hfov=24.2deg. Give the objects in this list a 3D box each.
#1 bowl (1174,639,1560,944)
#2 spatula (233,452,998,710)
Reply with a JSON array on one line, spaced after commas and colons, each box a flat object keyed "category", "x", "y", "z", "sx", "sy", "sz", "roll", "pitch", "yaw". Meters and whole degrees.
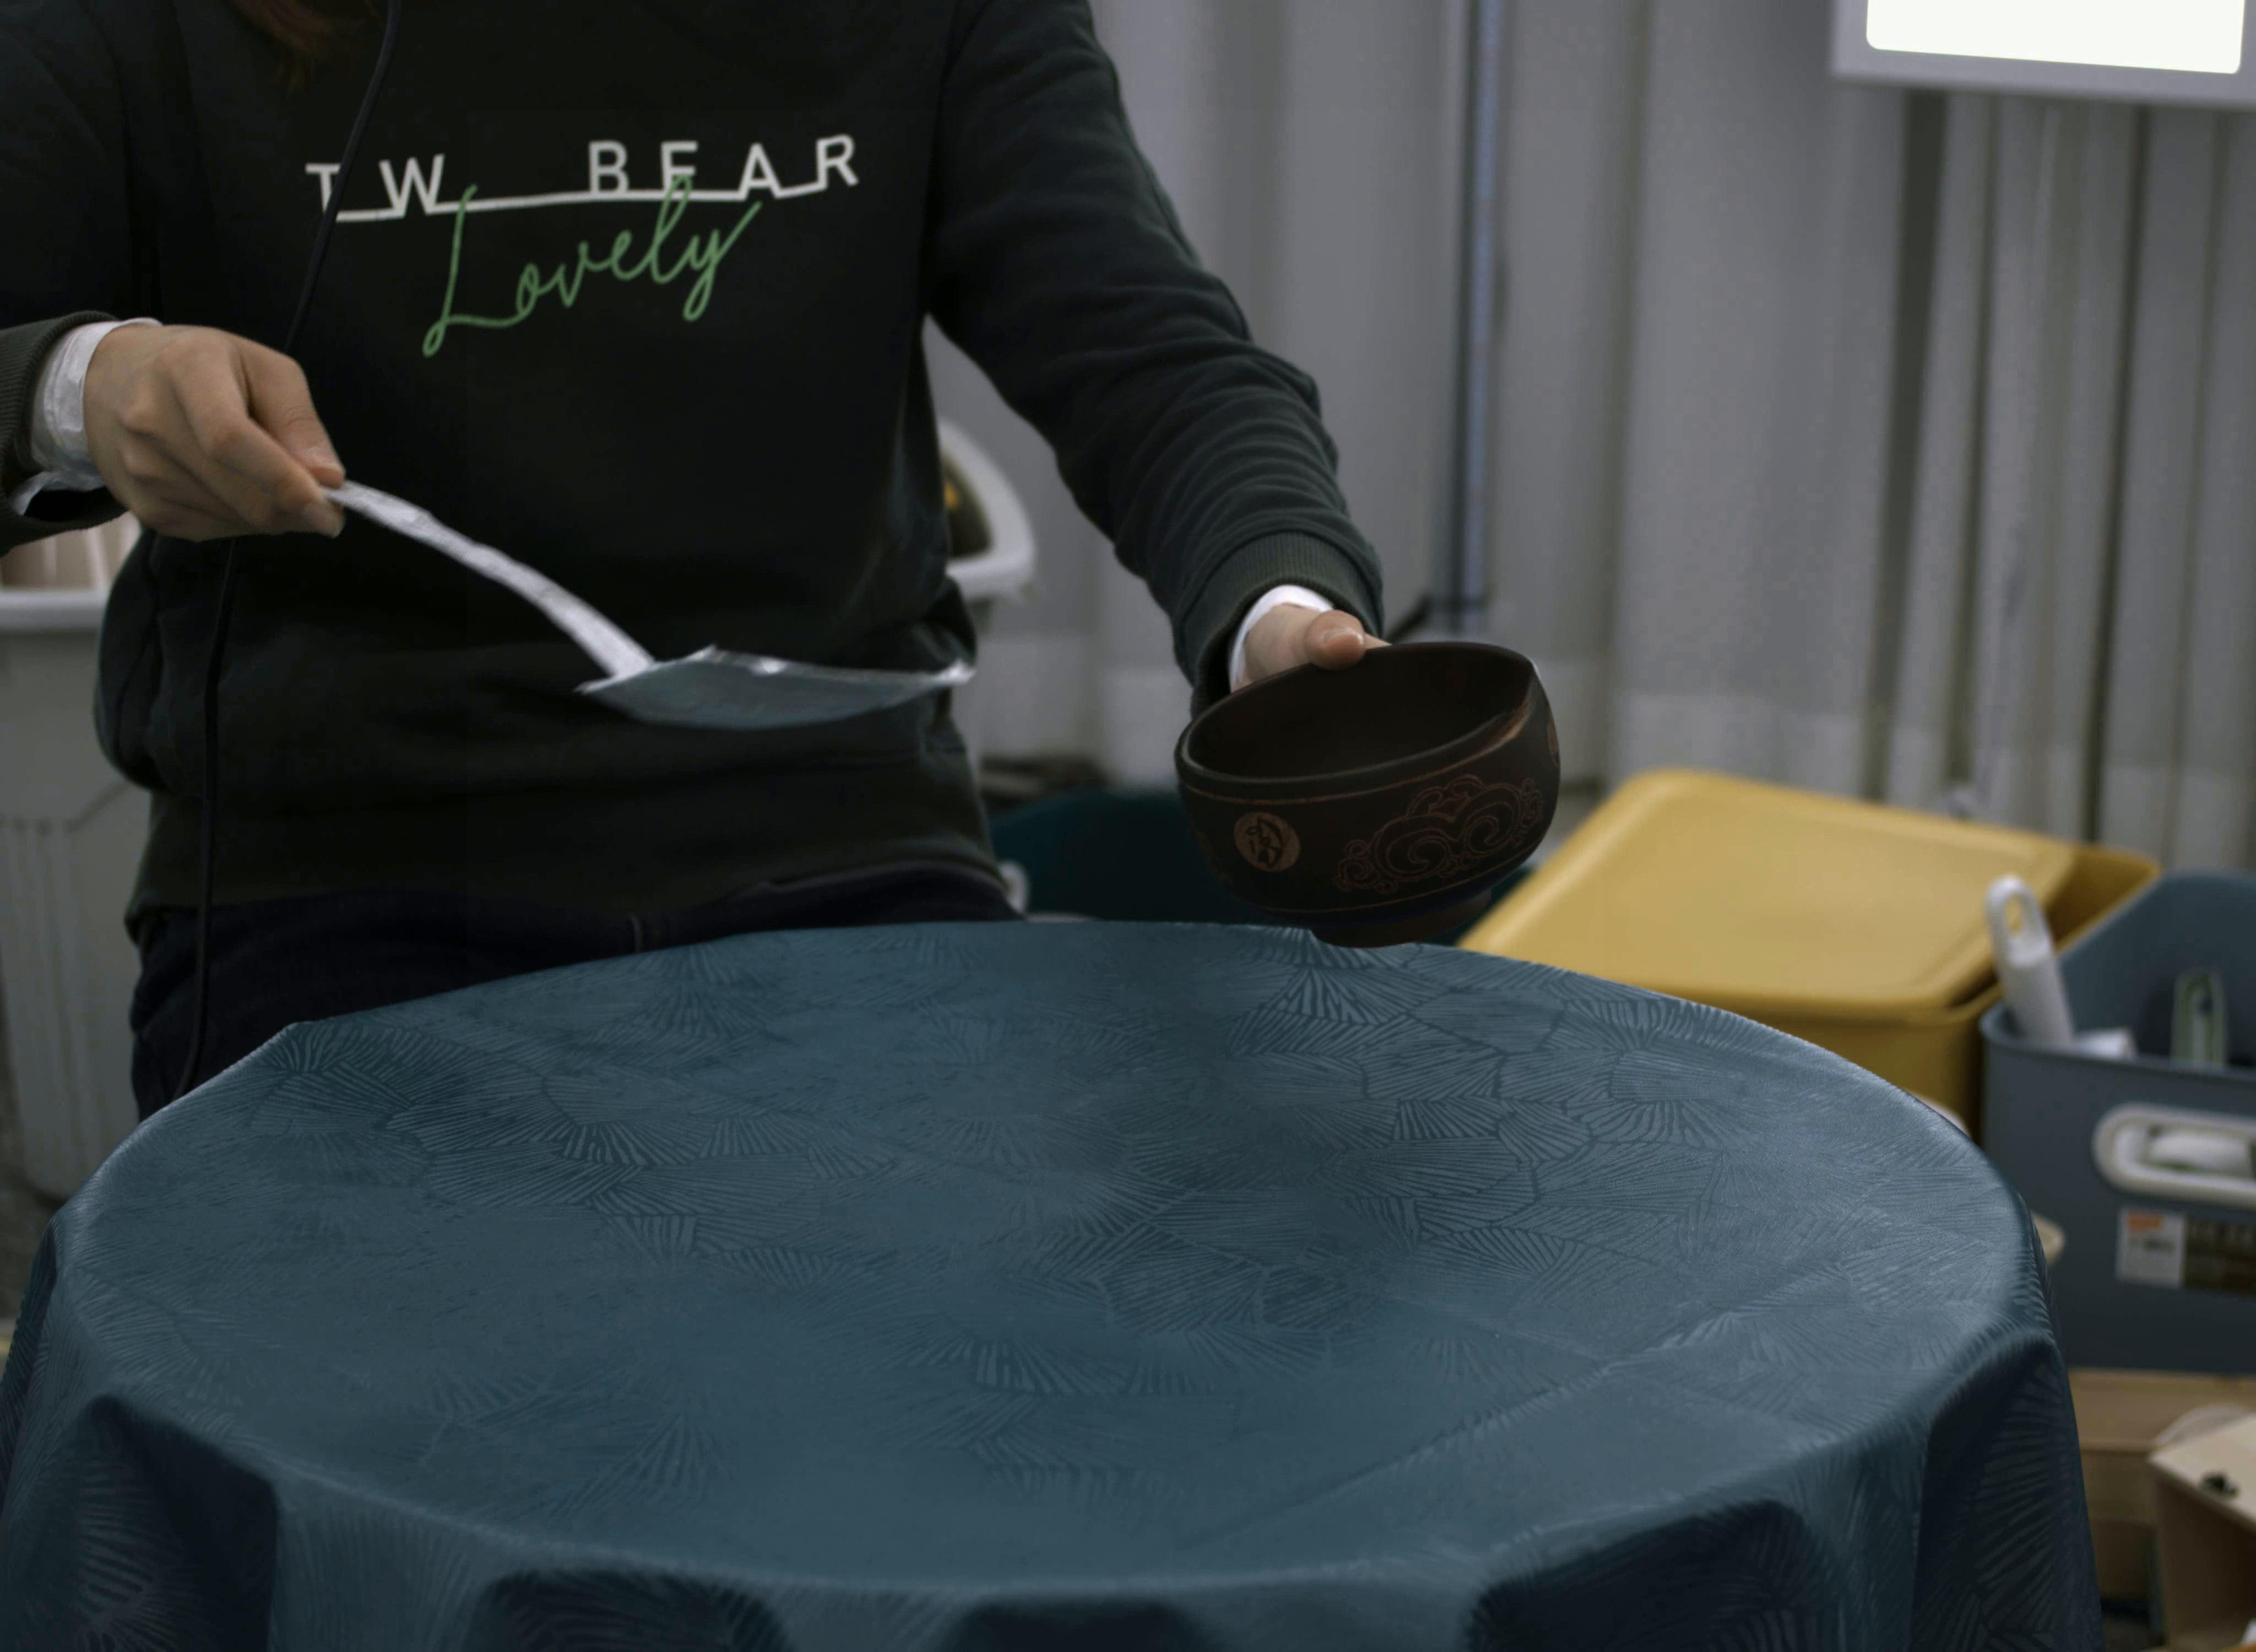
[{"category": "bowl", "x": 0.077, "y": -0.006, "z": 1.631, "sx": 0.117, "sy": 0.070, "sz": 0.117, "roll": -10, "pitch": 19, "yaw": 4}, {"category": "spatula", "x": -0.178, "y": -0.084, "z": 1.581, "sx": 0.099, "sy": 0.045, "sz": 0.360, "roll": 0, "pitch": 18, "yaw": -41}]
